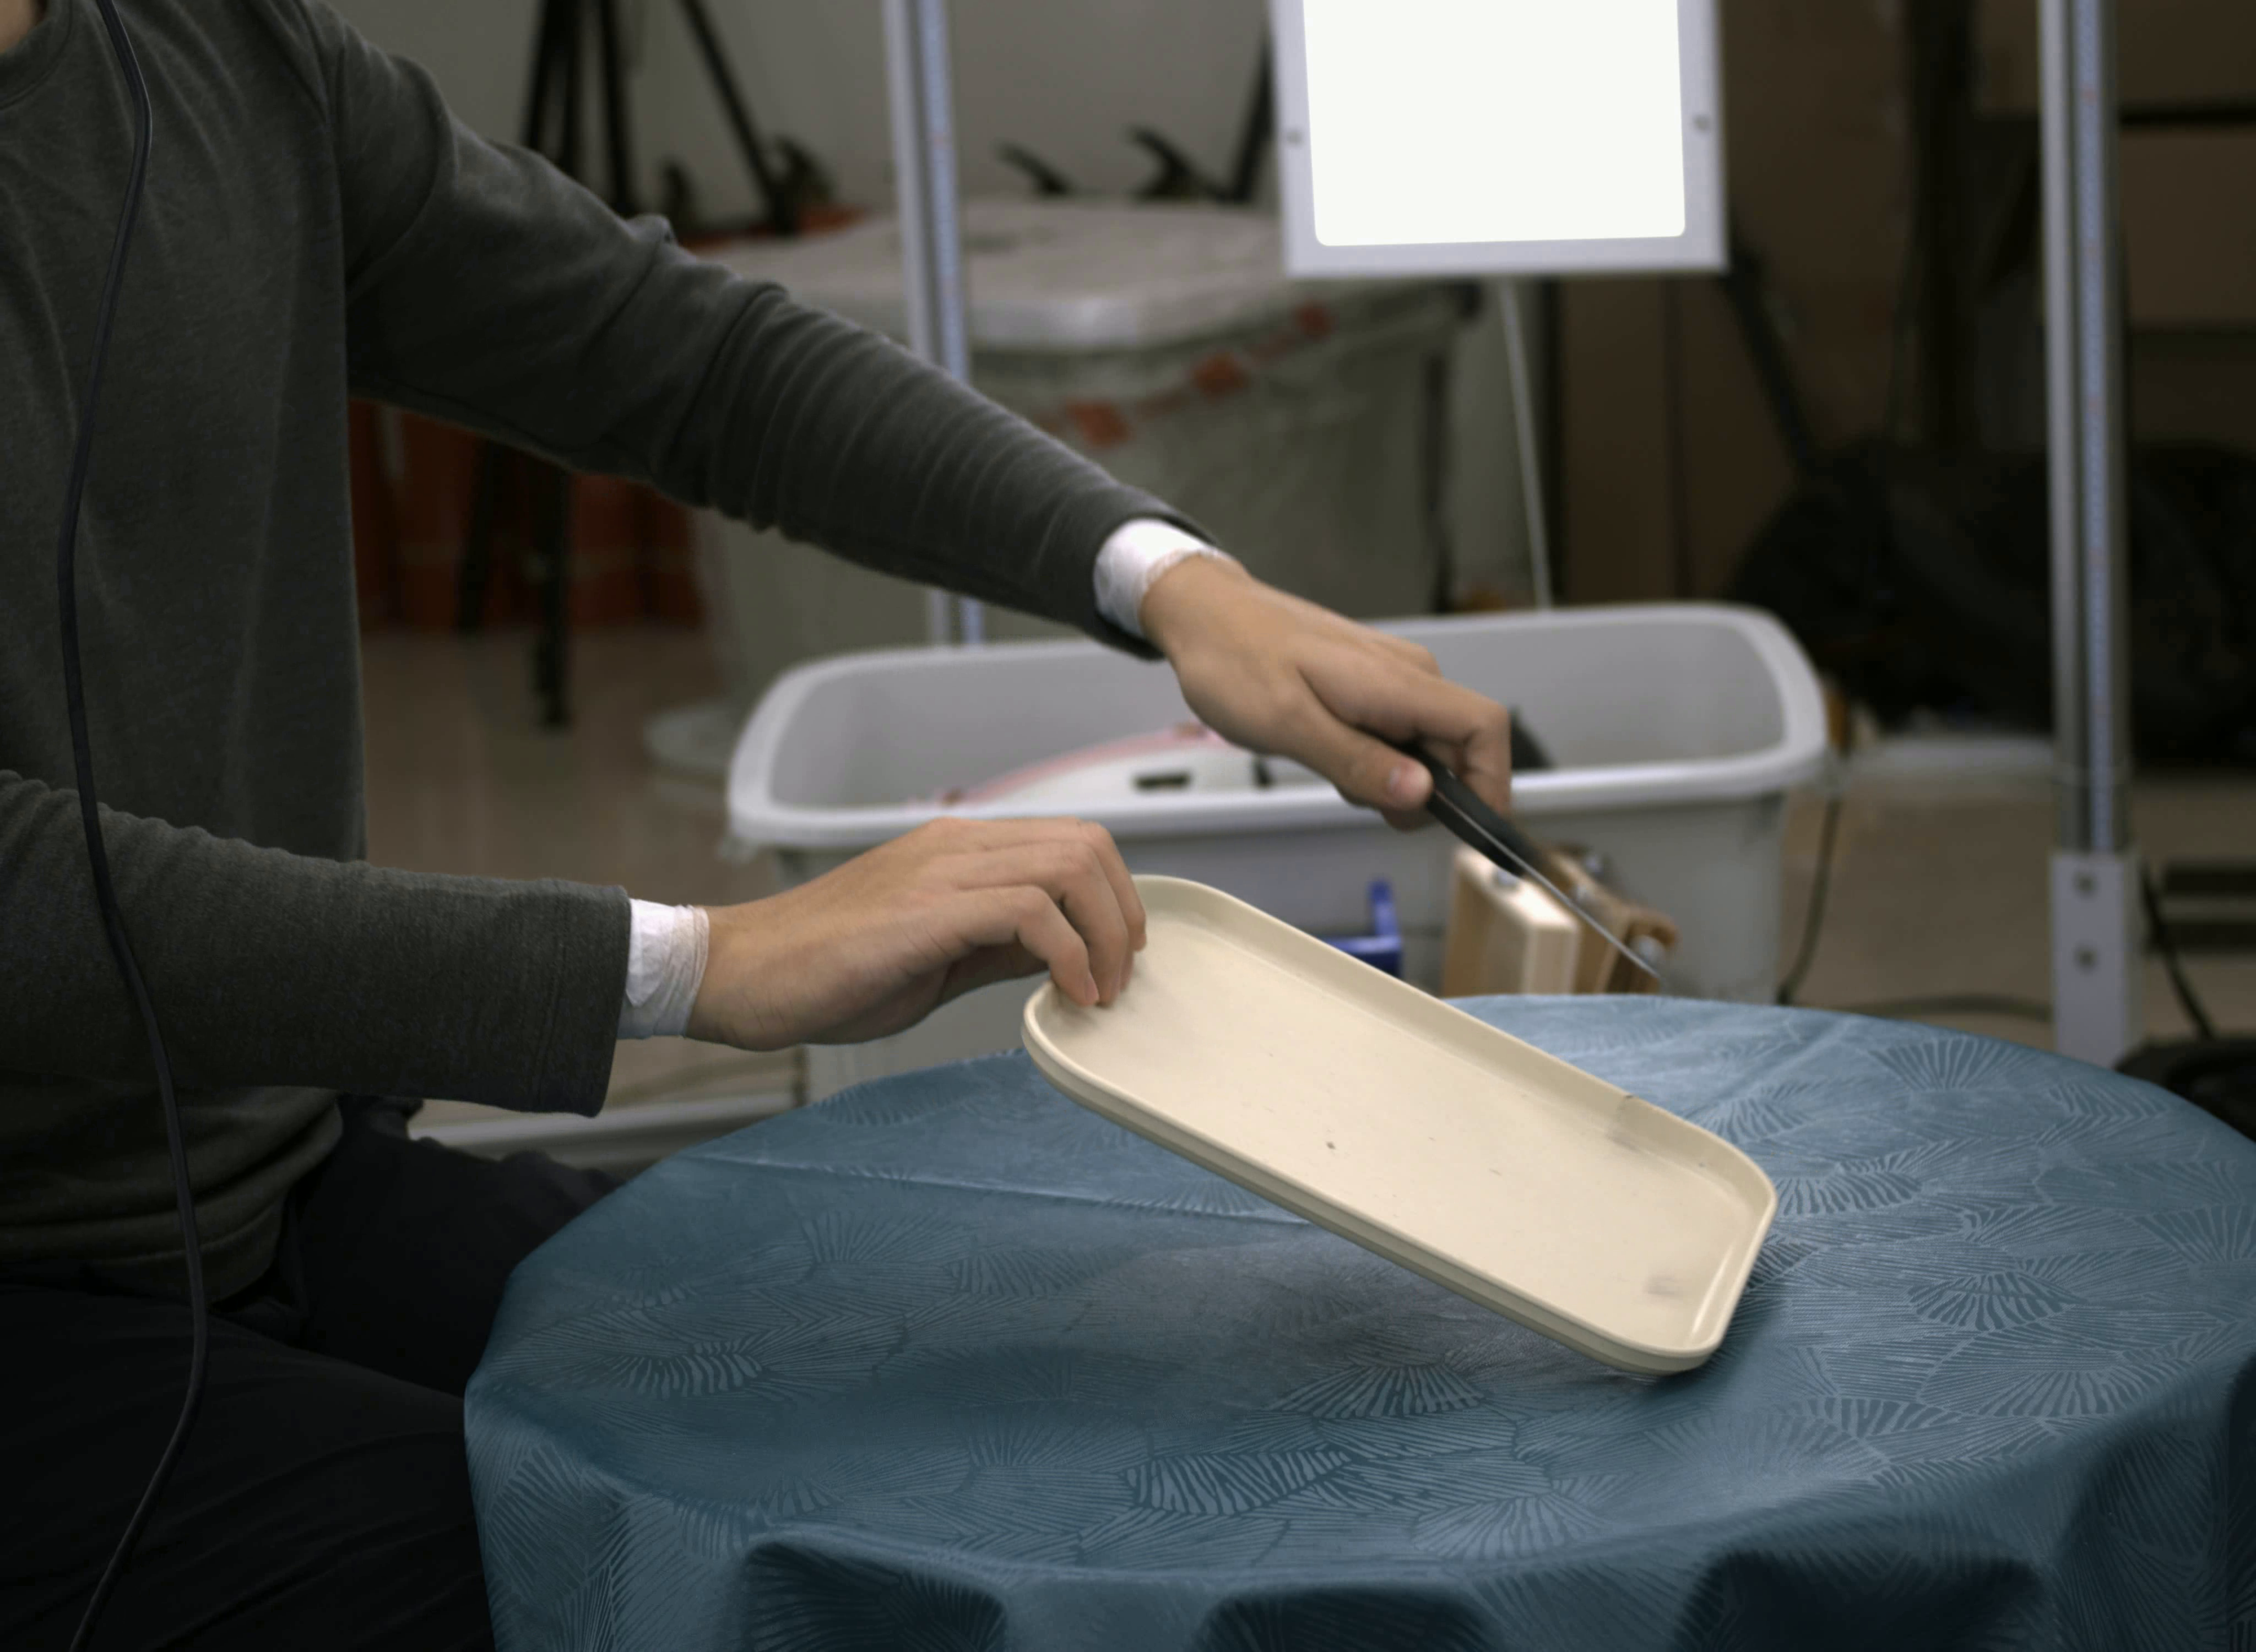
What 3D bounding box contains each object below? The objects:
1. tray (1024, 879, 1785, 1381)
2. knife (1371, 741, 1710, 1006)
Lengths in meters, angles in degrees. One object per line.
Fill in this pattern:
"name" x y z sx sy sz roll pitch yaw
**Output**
"tray" 0.089 0.095 1.743 0.240 0.018 0.168 25 25 9
"knife" 0.140 0.015 1.889 0.024 0.016 0.241 28 7 -31
